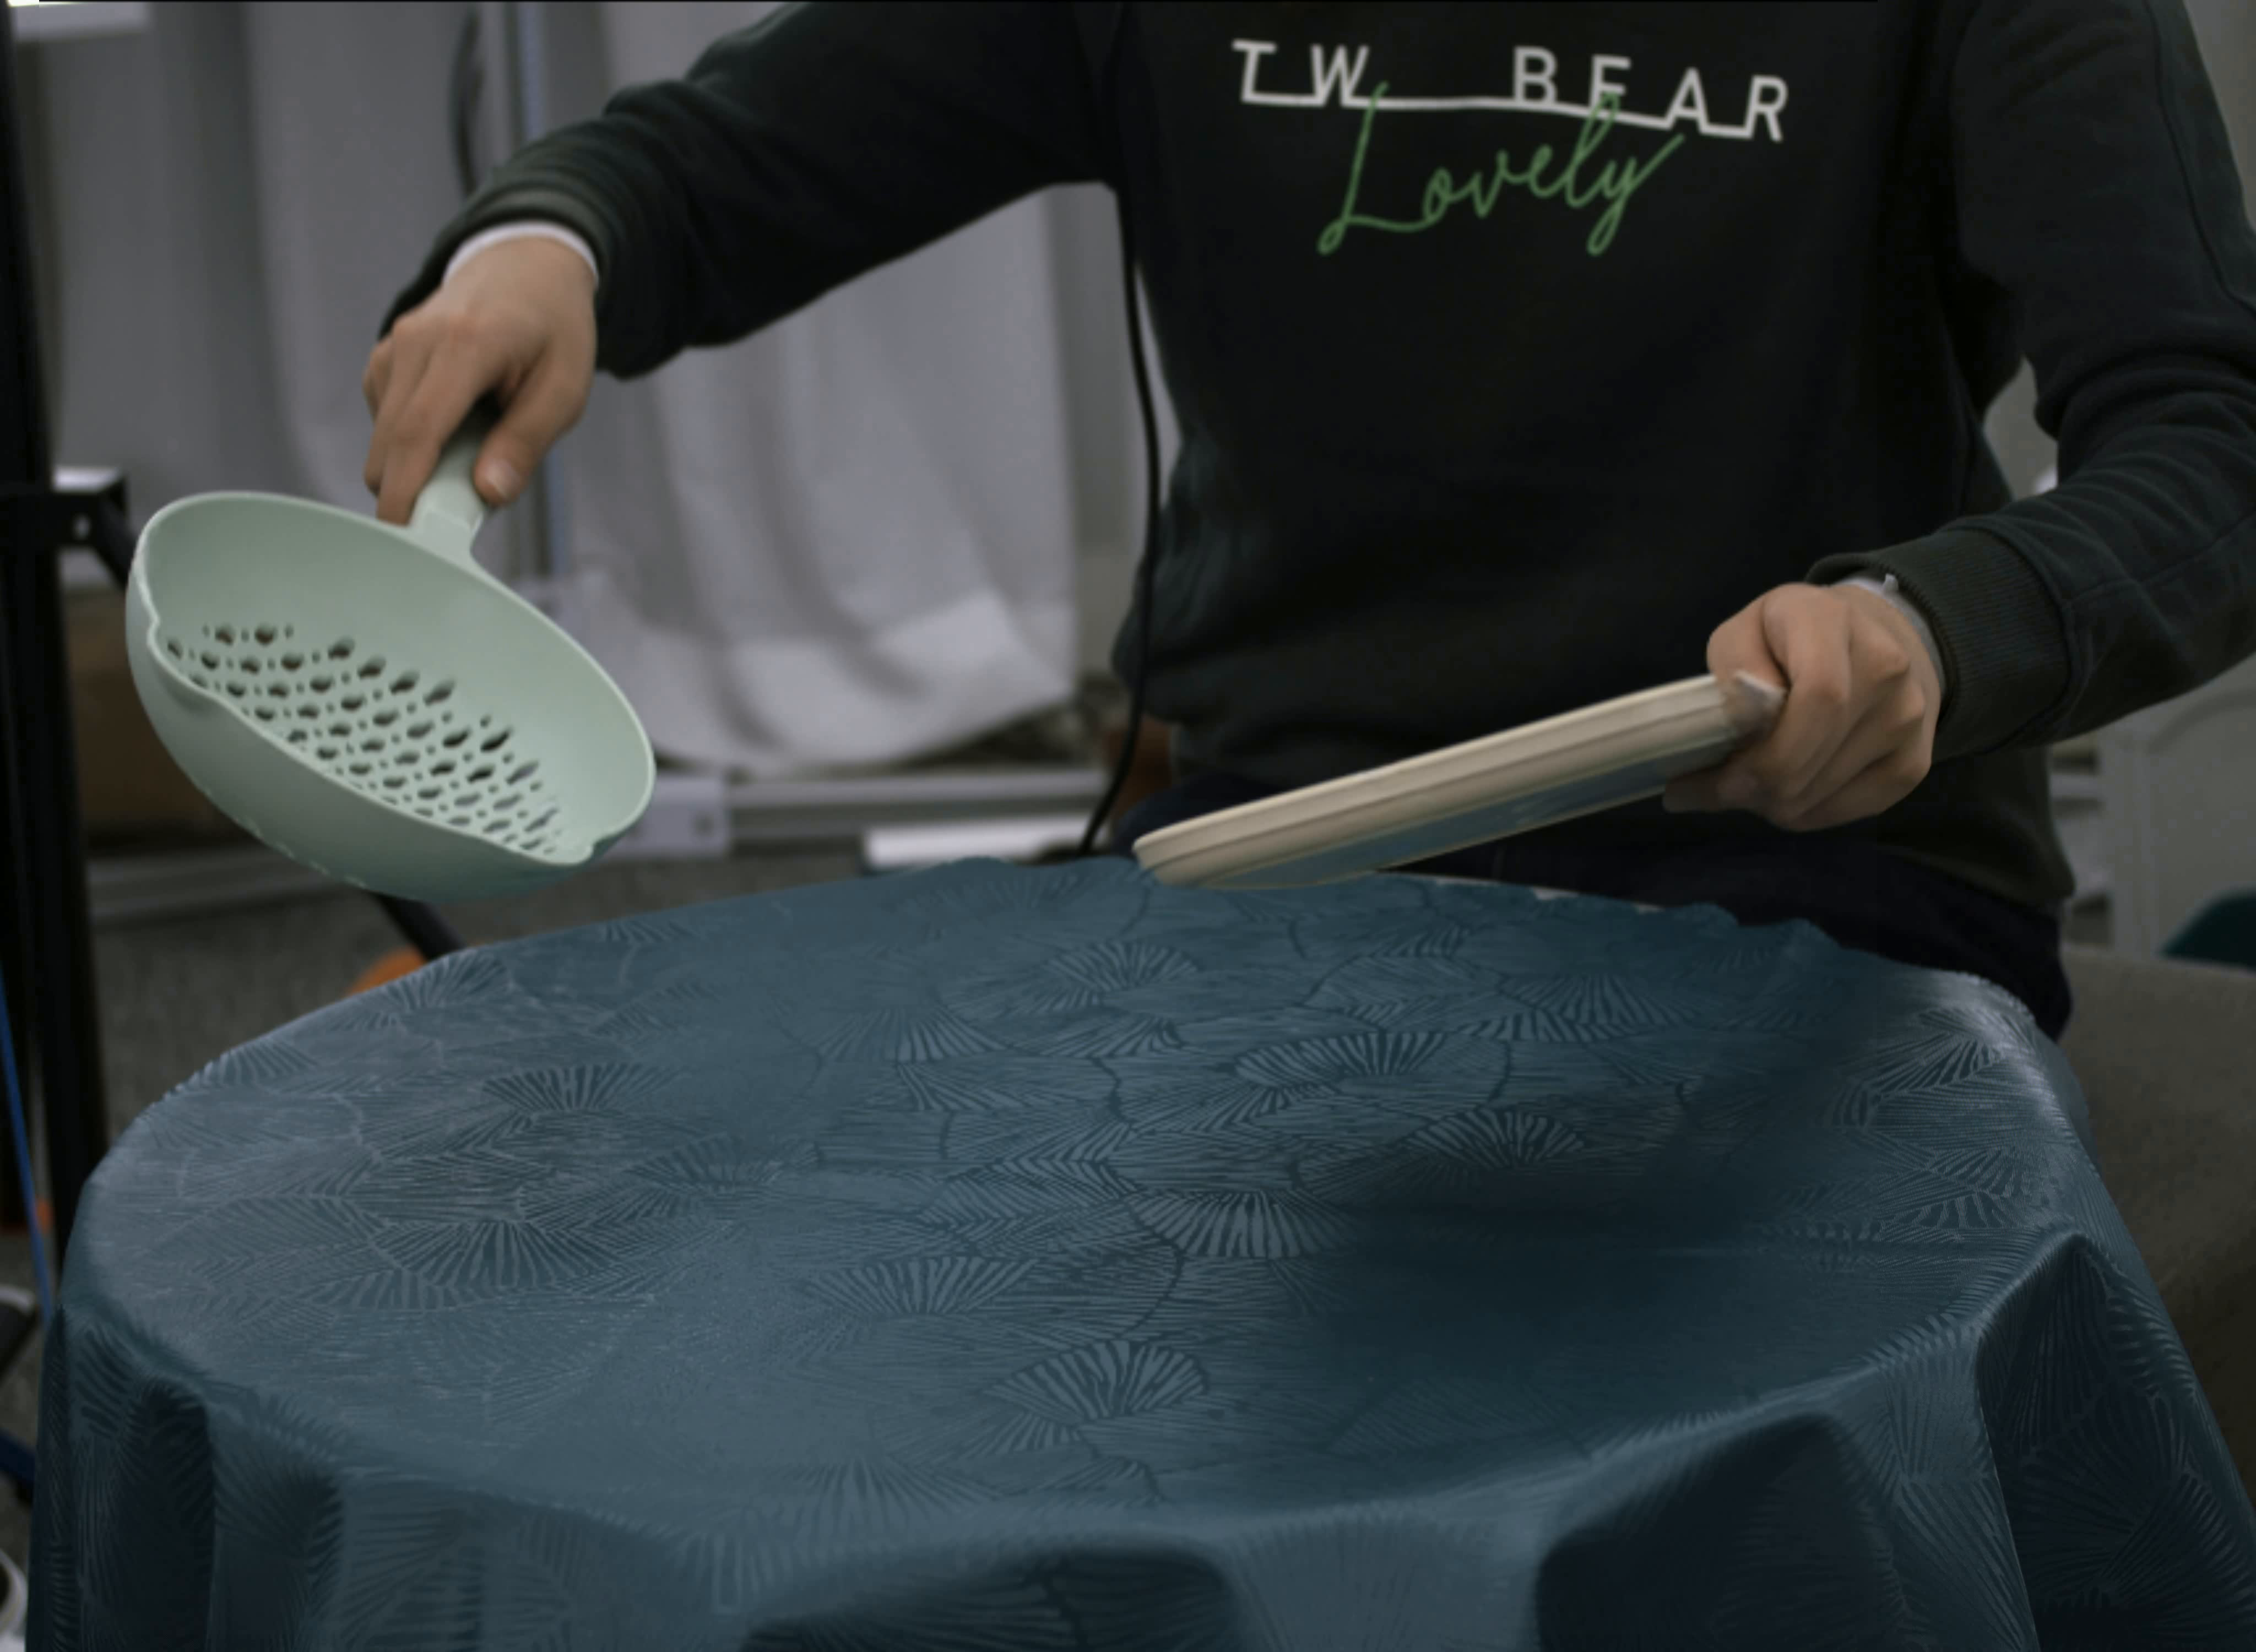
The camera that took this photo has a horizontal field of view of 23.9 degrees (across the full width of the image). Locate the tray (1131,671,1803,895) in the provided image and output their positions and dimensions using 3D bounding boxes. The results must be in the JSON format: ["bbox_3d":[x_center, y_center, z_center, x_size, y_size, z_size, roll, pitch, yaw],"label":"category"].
[{"bbox_3d":[0.100,-0.007,1.472,0.172,0.017,0.237,-15,-4,12],"label":"tray"}]

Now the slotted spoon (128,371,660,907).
[{"bbox_3d":[-0.216,-0.078,1.668,0.167,0.076,0.360,28,31,-10],"label":"slotted spoon"}]
